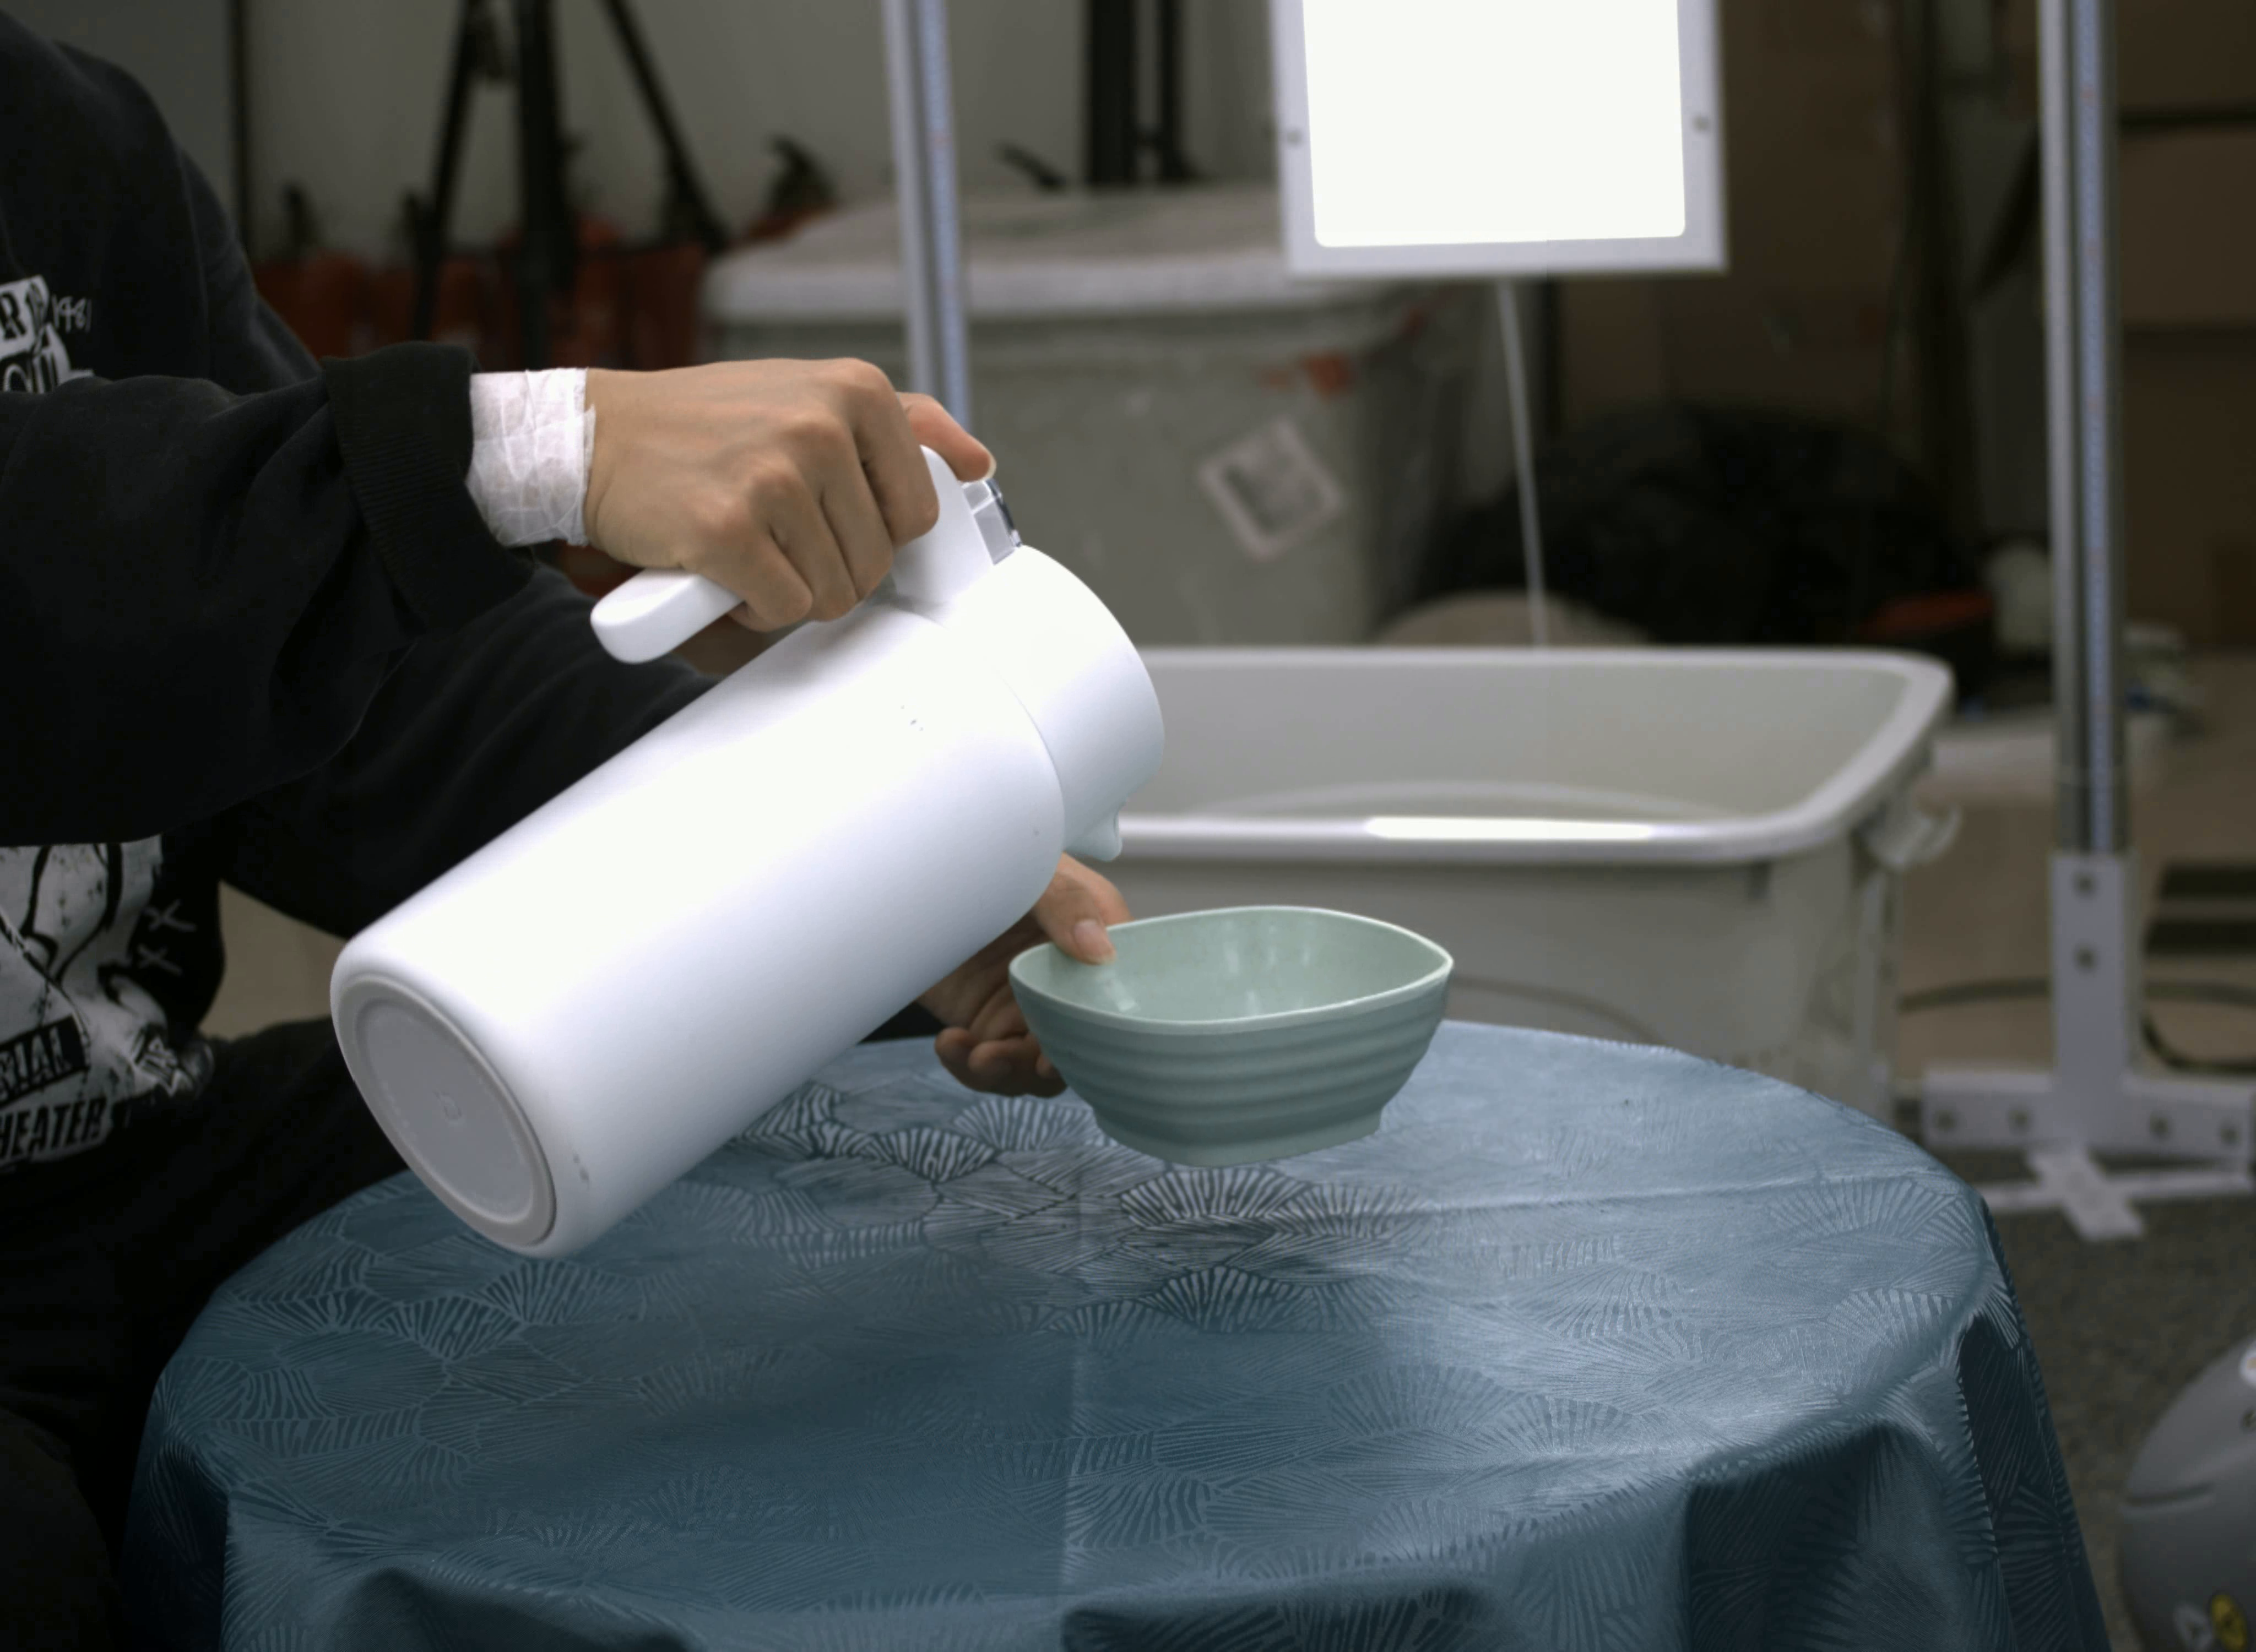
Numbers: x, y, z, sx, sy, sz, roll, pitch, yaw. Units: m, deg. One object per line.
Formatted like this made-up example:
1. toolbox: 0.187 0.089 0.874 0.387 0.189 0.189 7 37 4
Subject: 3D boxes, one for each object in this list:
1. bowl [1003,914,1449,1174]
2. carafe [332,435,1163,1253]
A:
1. bowl: 0.034 0.075 1.839 0.151 0.059 0.151 -3 13 -1
2. carafe: -0.119 0.001 1.714 0.264 0.172 0.126 -35 28 -27
